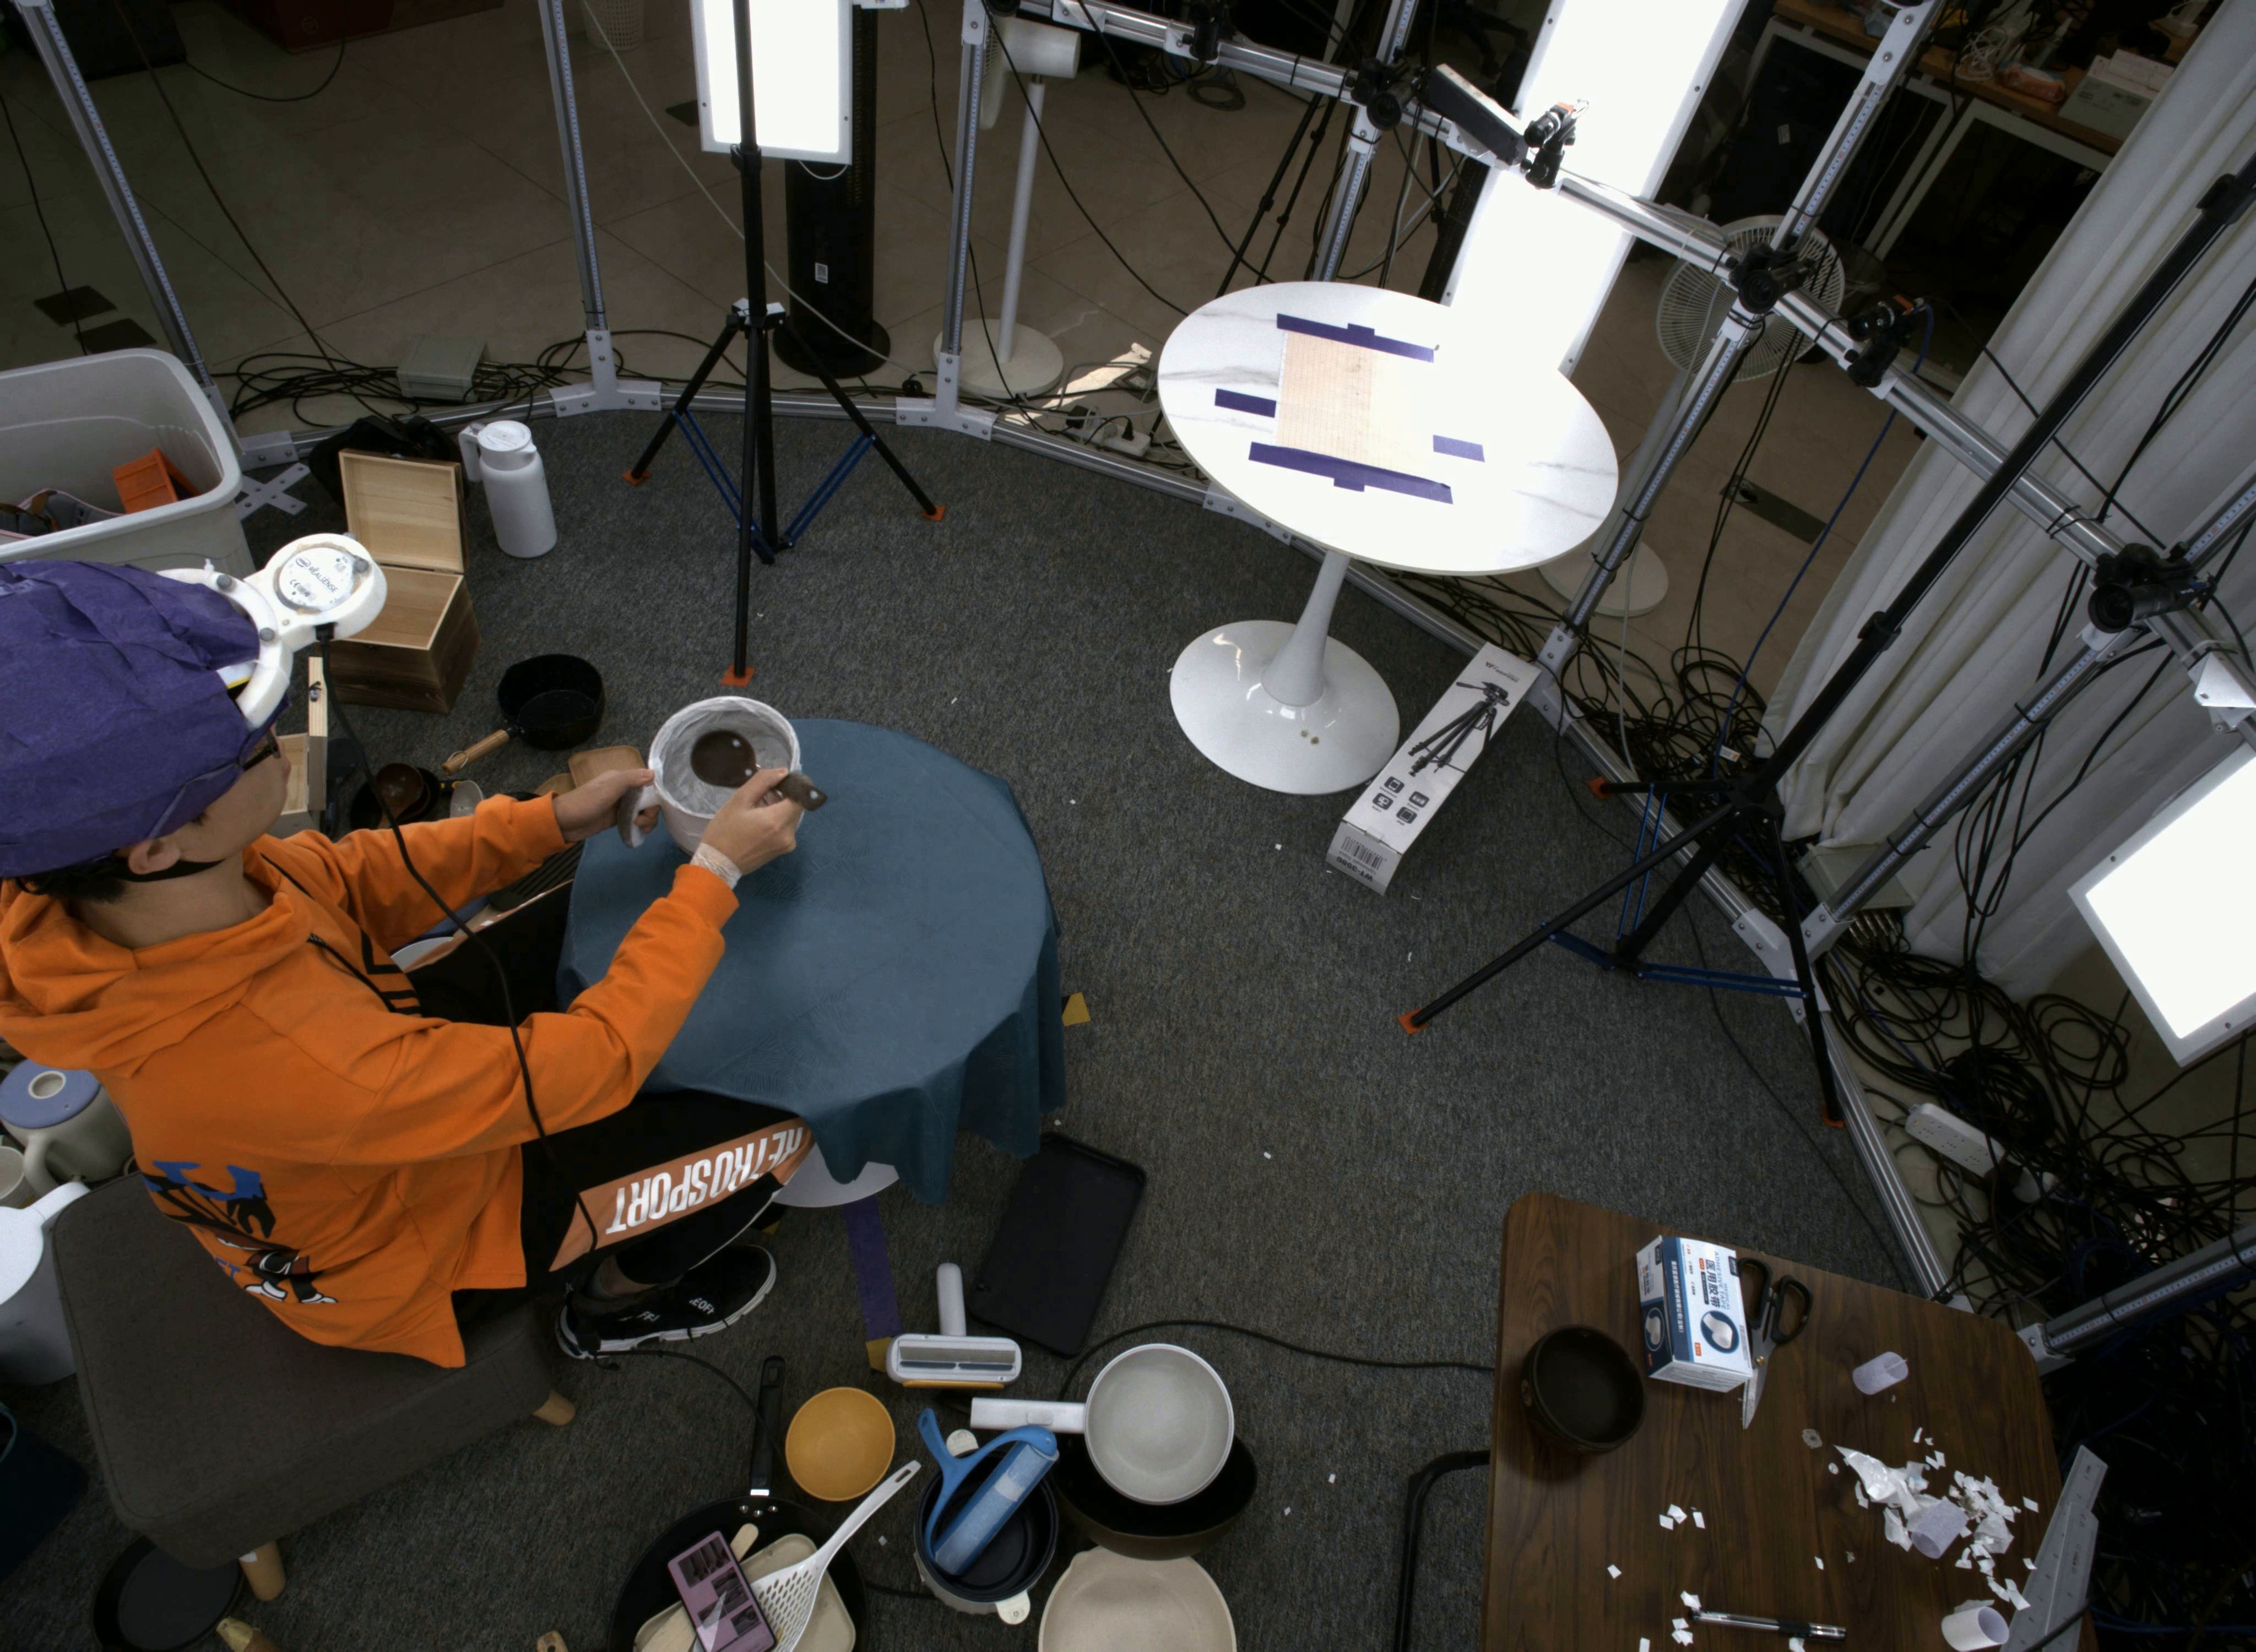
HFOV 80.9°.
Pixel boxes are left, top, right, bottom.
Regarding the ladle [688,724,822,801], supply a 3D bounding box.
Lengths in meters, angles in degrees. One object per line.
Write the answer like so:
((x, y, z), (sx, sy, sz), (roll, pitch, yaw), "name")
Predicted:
((-0.418, -0.072, 1.435), (0.076, 0.265, 0.074), (-47, 120, -22), "ladle")

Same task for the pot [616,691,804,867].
((-0.511, -0.044, 1.561), (0.234, 0.139, 0.175), (-21, 64, -21), "pot")
